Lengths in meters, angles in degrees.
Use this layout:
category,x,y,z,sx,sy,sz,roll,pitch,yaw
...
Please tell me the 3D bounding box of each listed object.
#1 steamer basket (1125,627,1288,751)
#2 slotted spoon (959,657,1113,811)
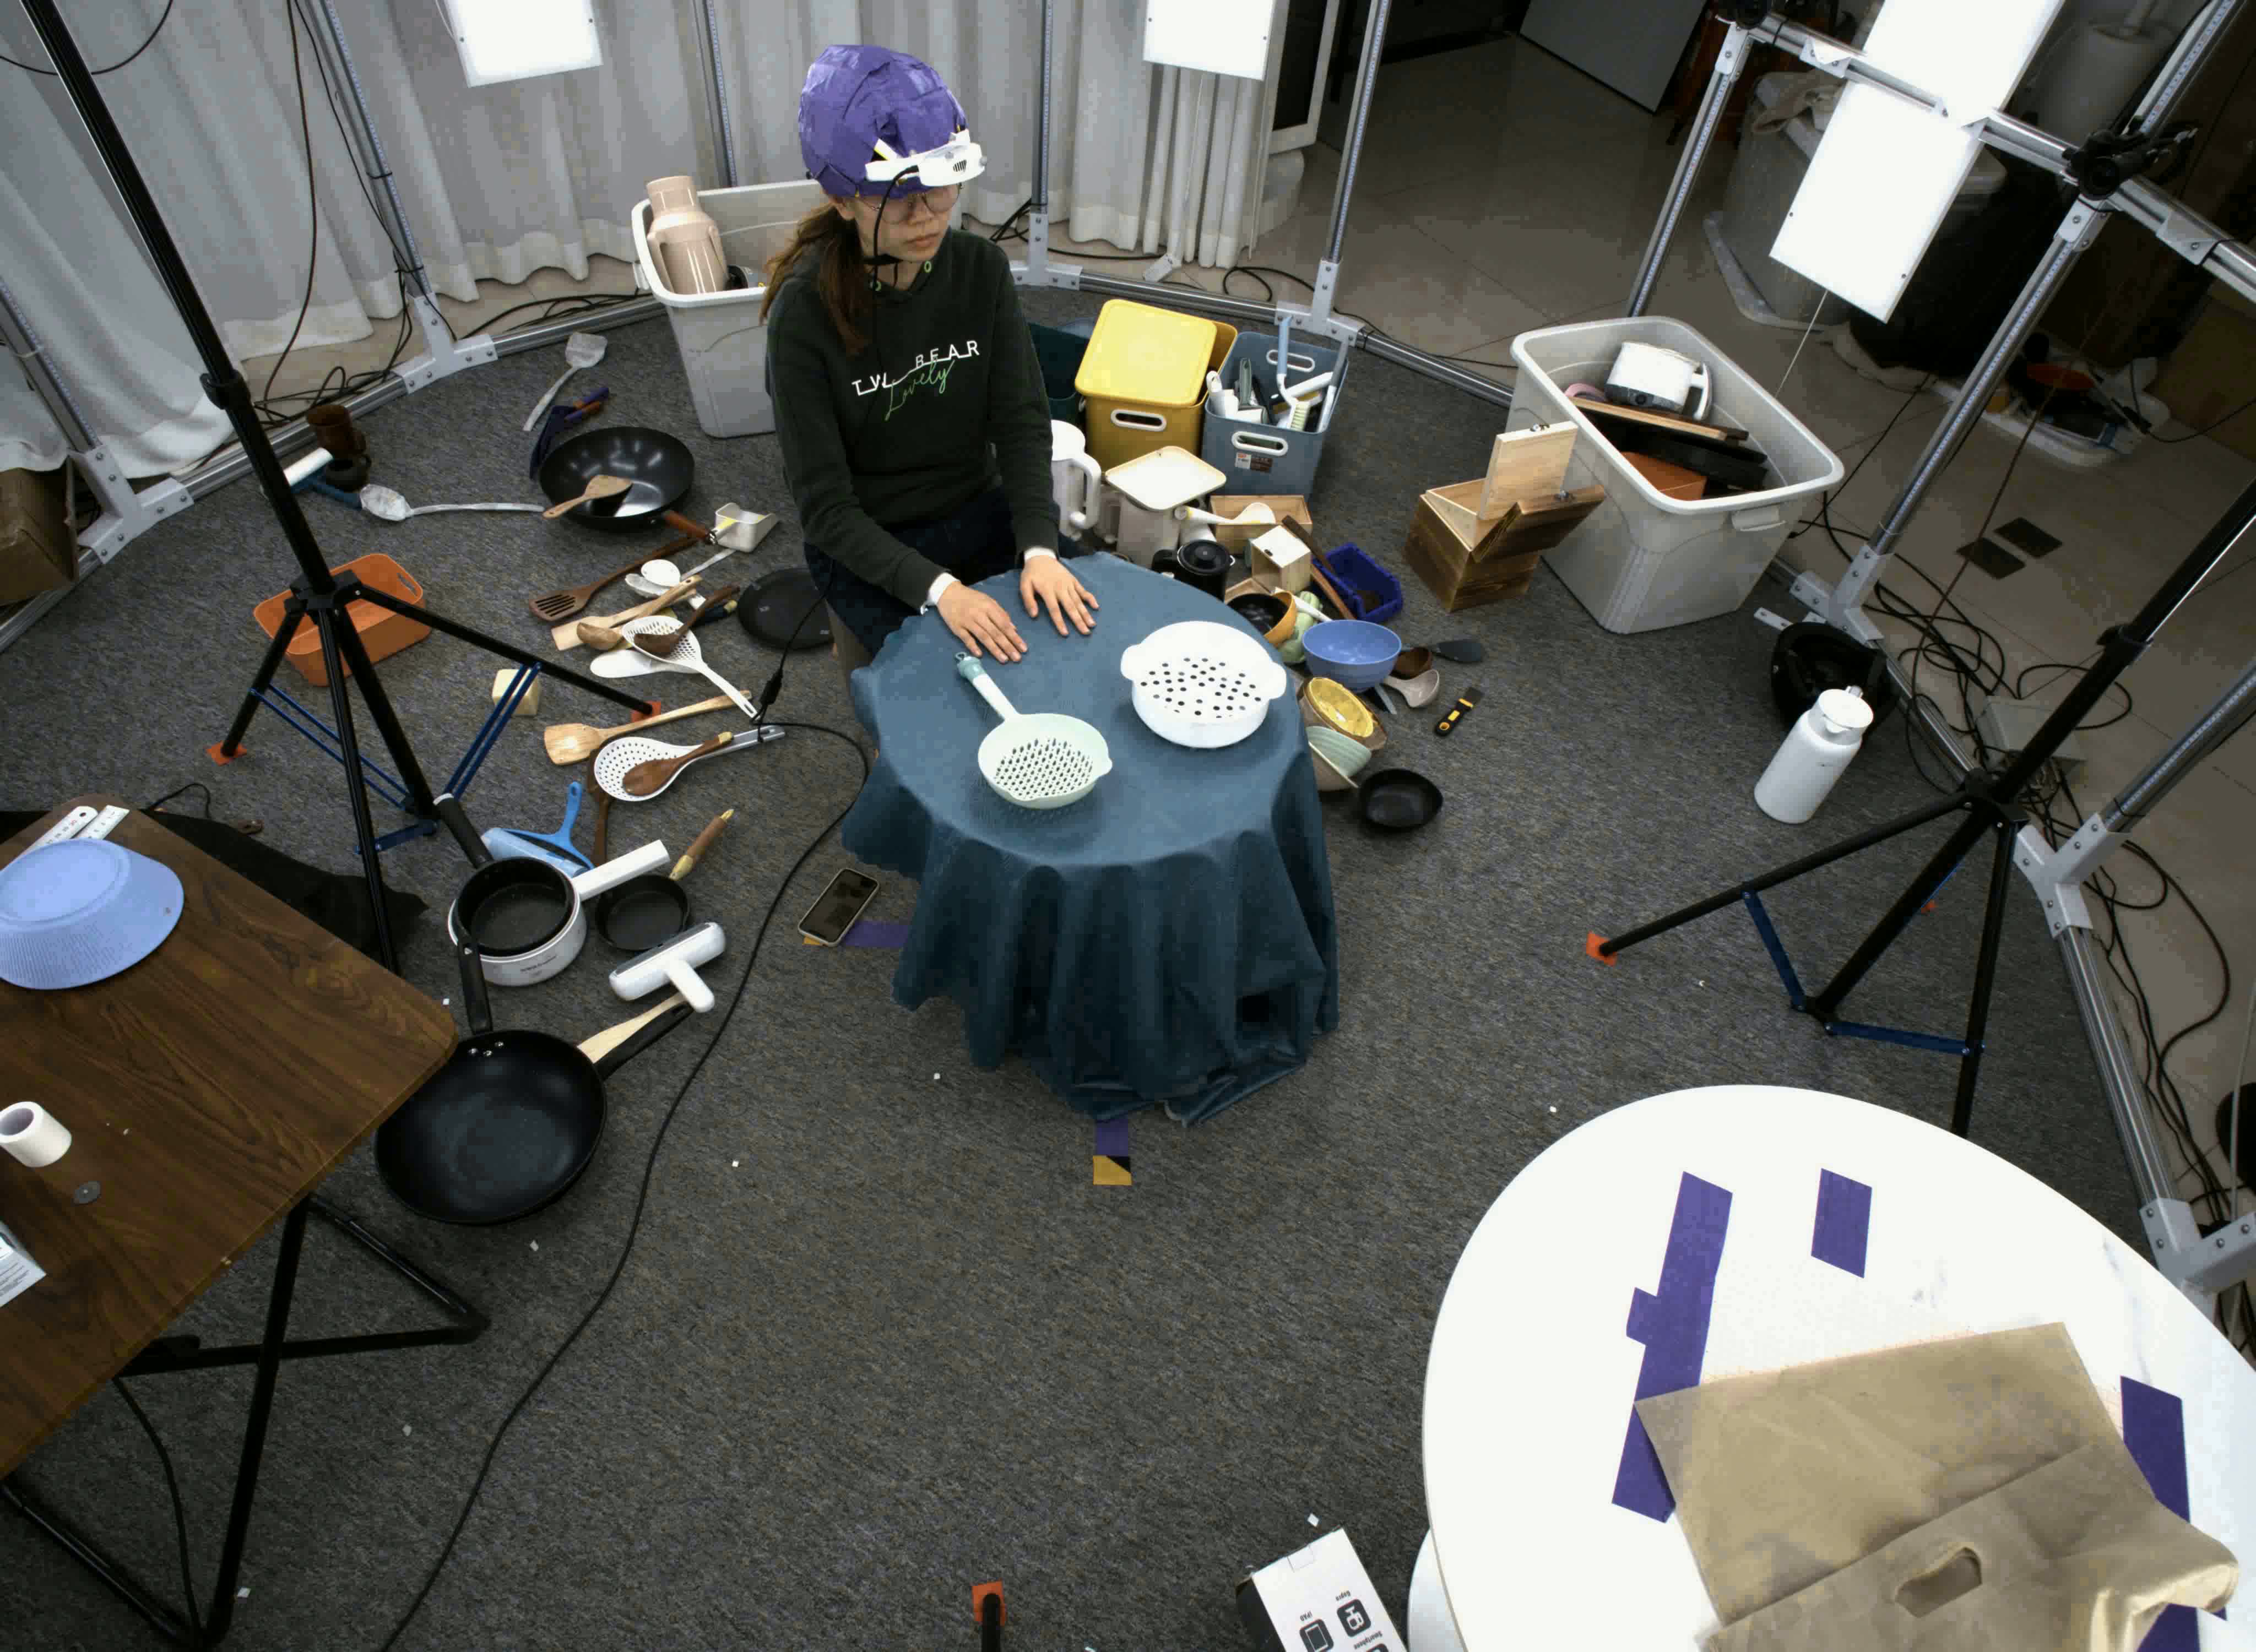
category,x,y,z,sx,sy,sz,roll,pitch,yaw
steamer basket,0.109,-0.194,1.820,0.230,0.067,0.207,6,47,2
slotted spoon,-0.156,-0.142,1.756,0.170,0.073,0.367,-19,53,-20
